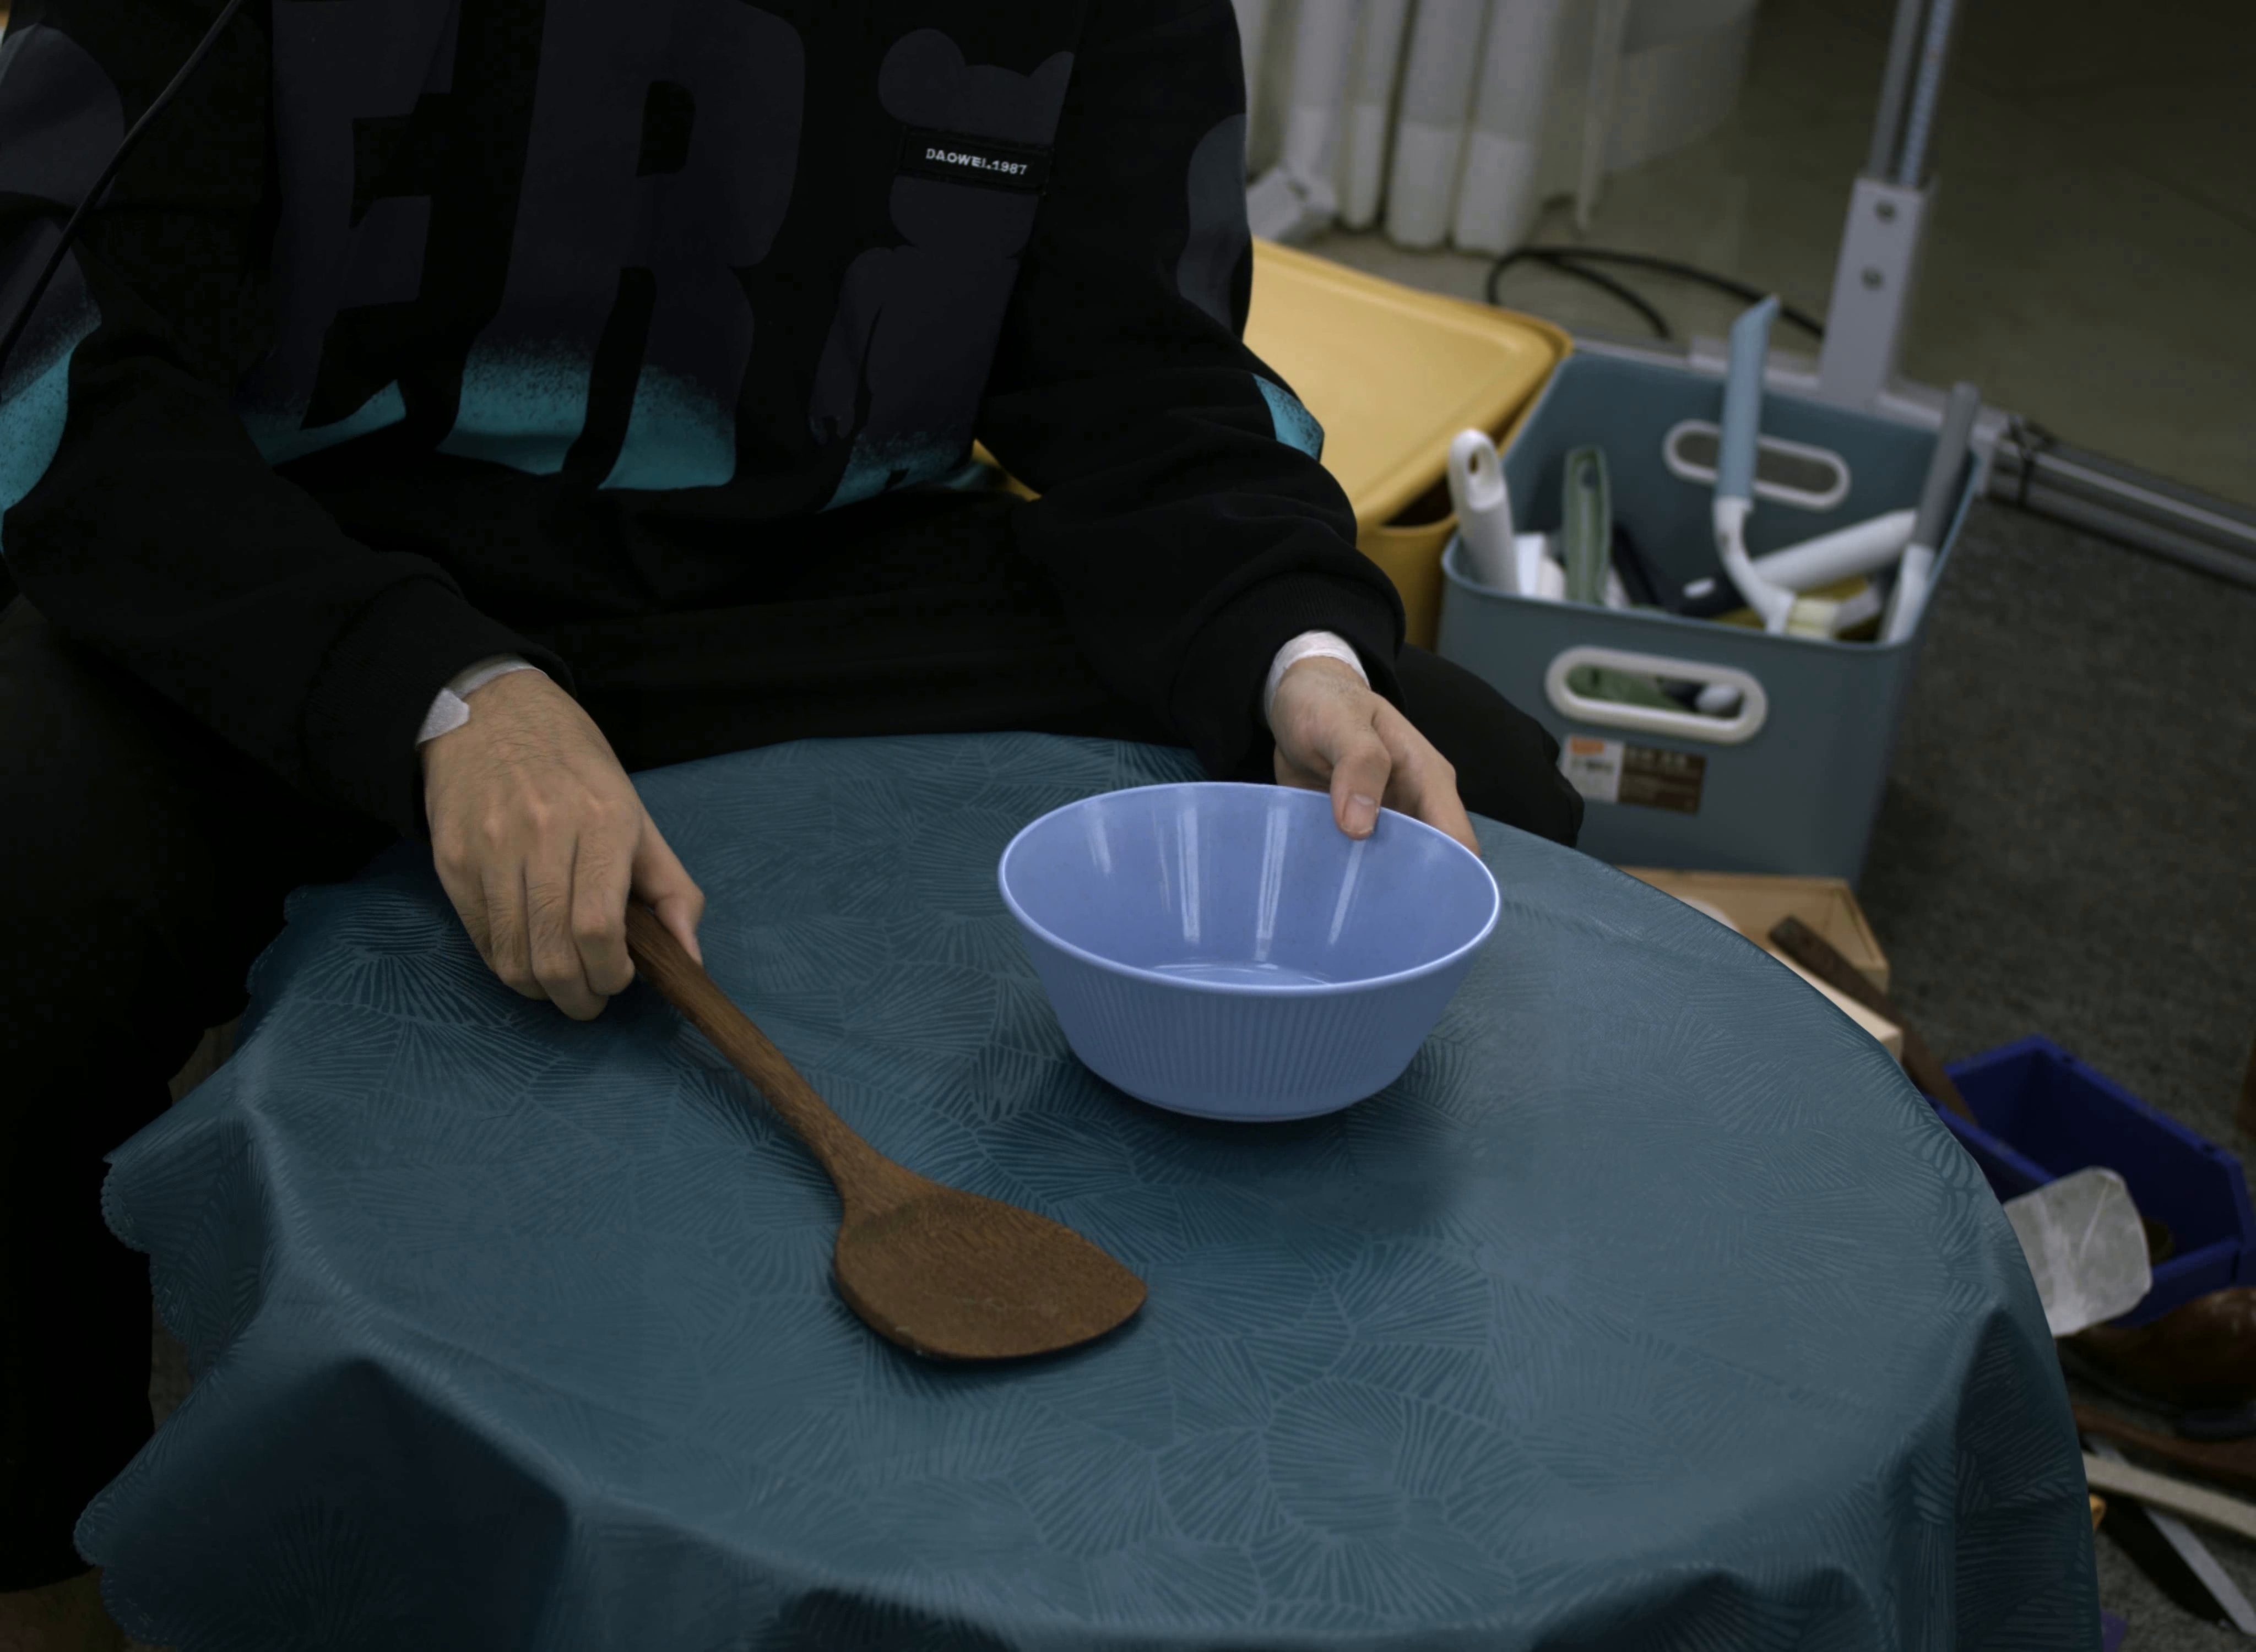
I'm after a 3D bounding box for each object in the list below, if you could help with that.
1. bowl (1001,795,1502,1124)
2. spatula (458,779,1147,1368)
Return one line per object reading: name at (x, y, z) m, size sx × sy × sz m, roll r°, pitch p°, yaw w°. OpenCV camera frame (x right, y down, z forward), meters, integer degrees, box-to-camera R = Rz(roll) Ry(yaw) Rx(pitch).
bowl at (0.042, 0.051, 1.864) m, size 0.175 × 0.070 × 0.177 m, roll 2°, pitch 22°, yaw -1°
spatula at (-0.132, 0.076, 1.828) m, size 0.095 × 0.016 × 0.389 m, roll -11°, pitch 36°, yaw -34°
